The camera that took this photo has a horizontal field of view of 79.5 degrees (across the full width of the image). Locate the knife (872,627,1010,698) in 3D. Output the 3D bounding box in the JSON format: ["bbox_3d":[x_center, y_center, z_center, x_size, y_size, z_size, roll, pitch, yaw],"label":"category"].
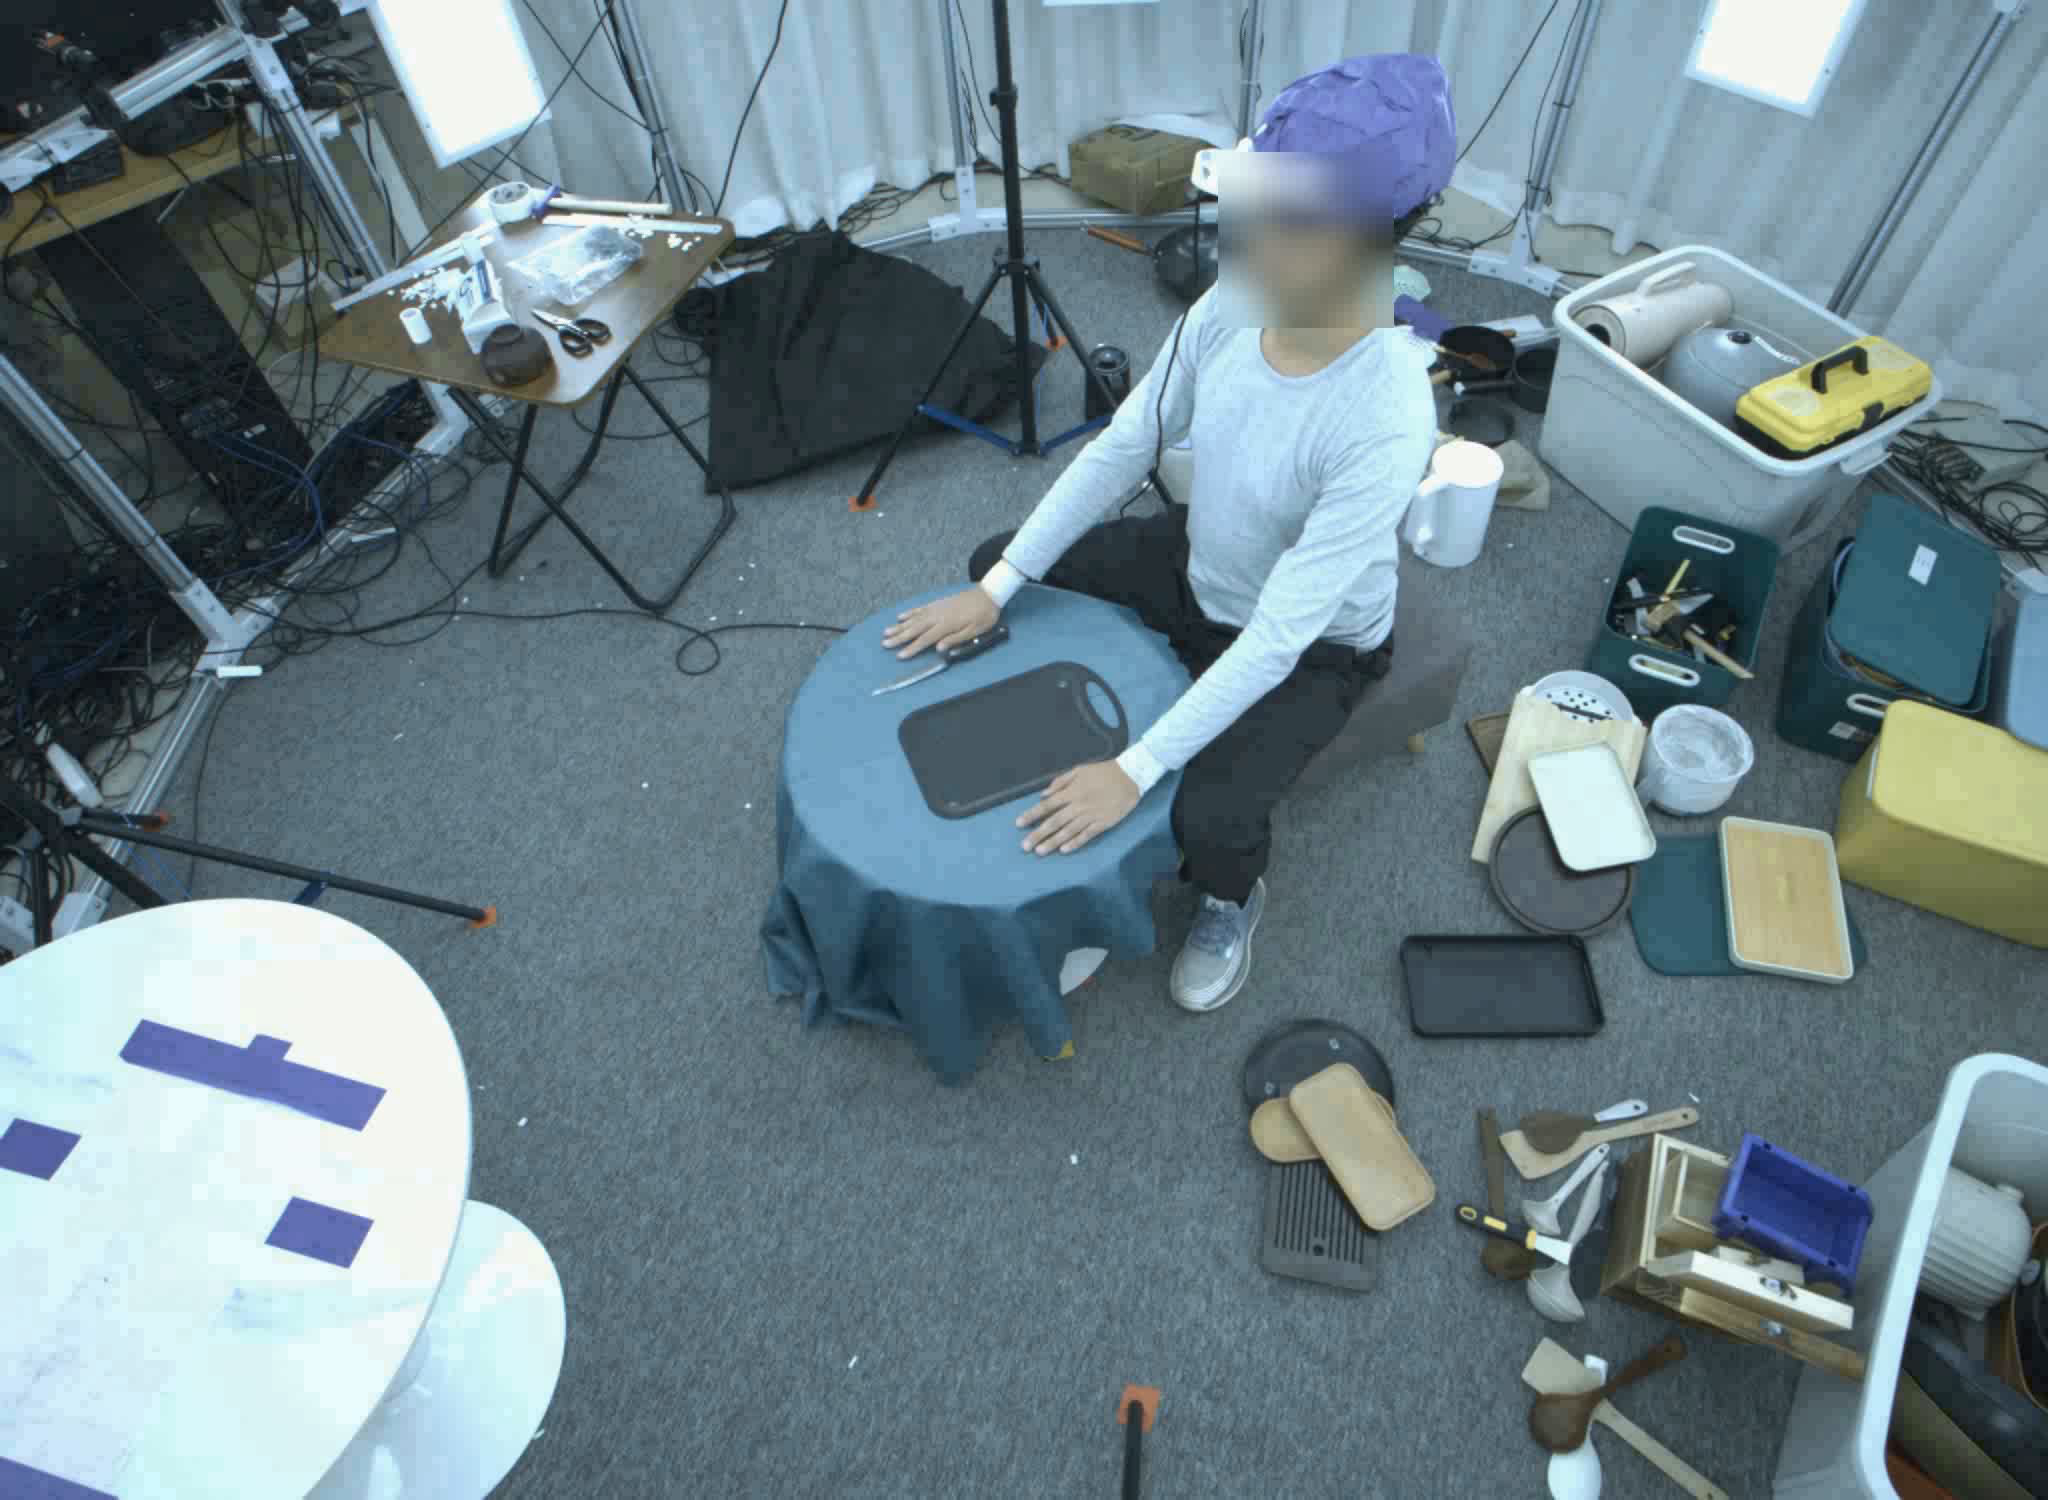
[{"bbox_3d":[-0.129,-0.134,1.888,0.240,0.016,0.024,-27,56,-14],"label":"knife"}]

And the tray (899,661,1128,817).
[{"bbox_3d":[-0.011,-0.026,1.810,0.328,0.010,0.207,-19,56,-12],"label":"tray"}]
